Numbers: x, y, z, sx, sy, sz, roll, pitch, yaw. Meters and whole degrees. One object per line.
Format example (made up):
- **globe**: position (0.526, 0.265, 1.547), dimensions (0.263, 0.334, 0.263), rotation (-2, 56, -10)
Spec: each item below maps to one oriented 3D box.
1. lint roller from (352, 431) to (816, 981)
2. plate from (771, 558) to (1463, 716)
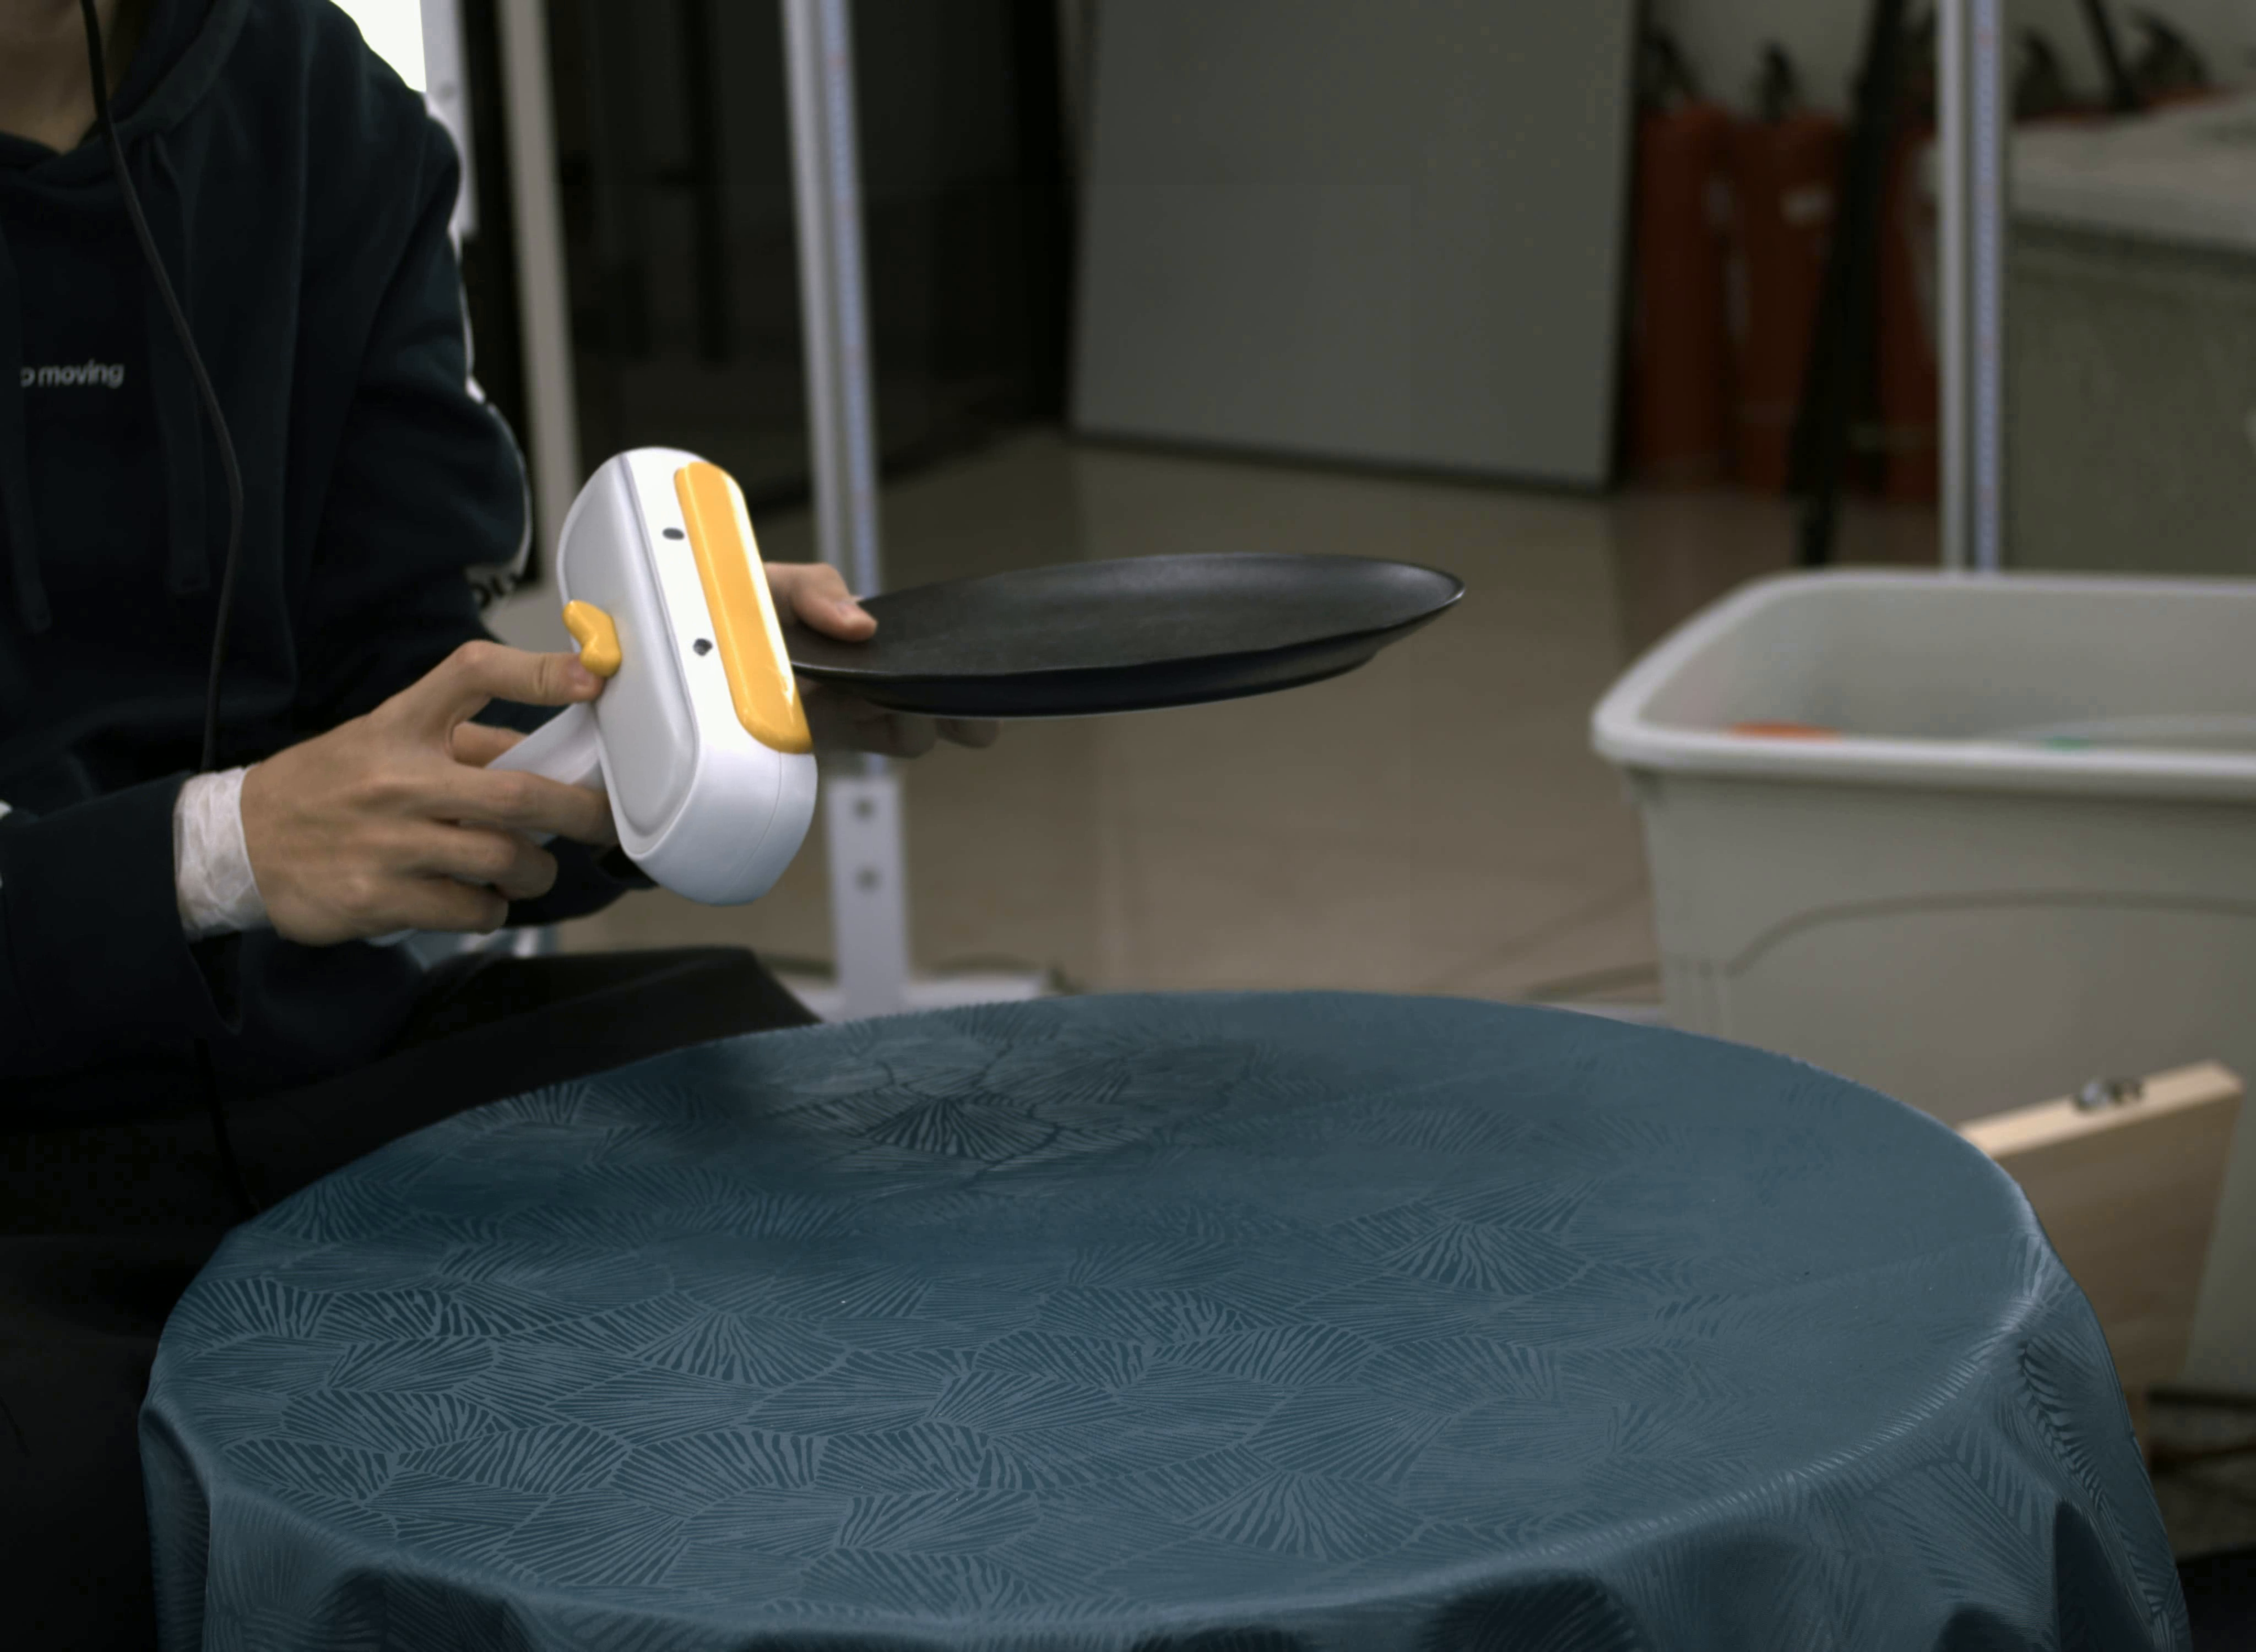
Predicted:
- **lint roller**: position (-0.192, -0.019, 1.855), dimensions (0.072, 0.194, 0.195), rotation (21, 29, -38)
- **plate**: position (-0.003, -0.065, 1.859), dimensions (0.241, 0.024, 0.244), rotation (-6, 10, 0)
